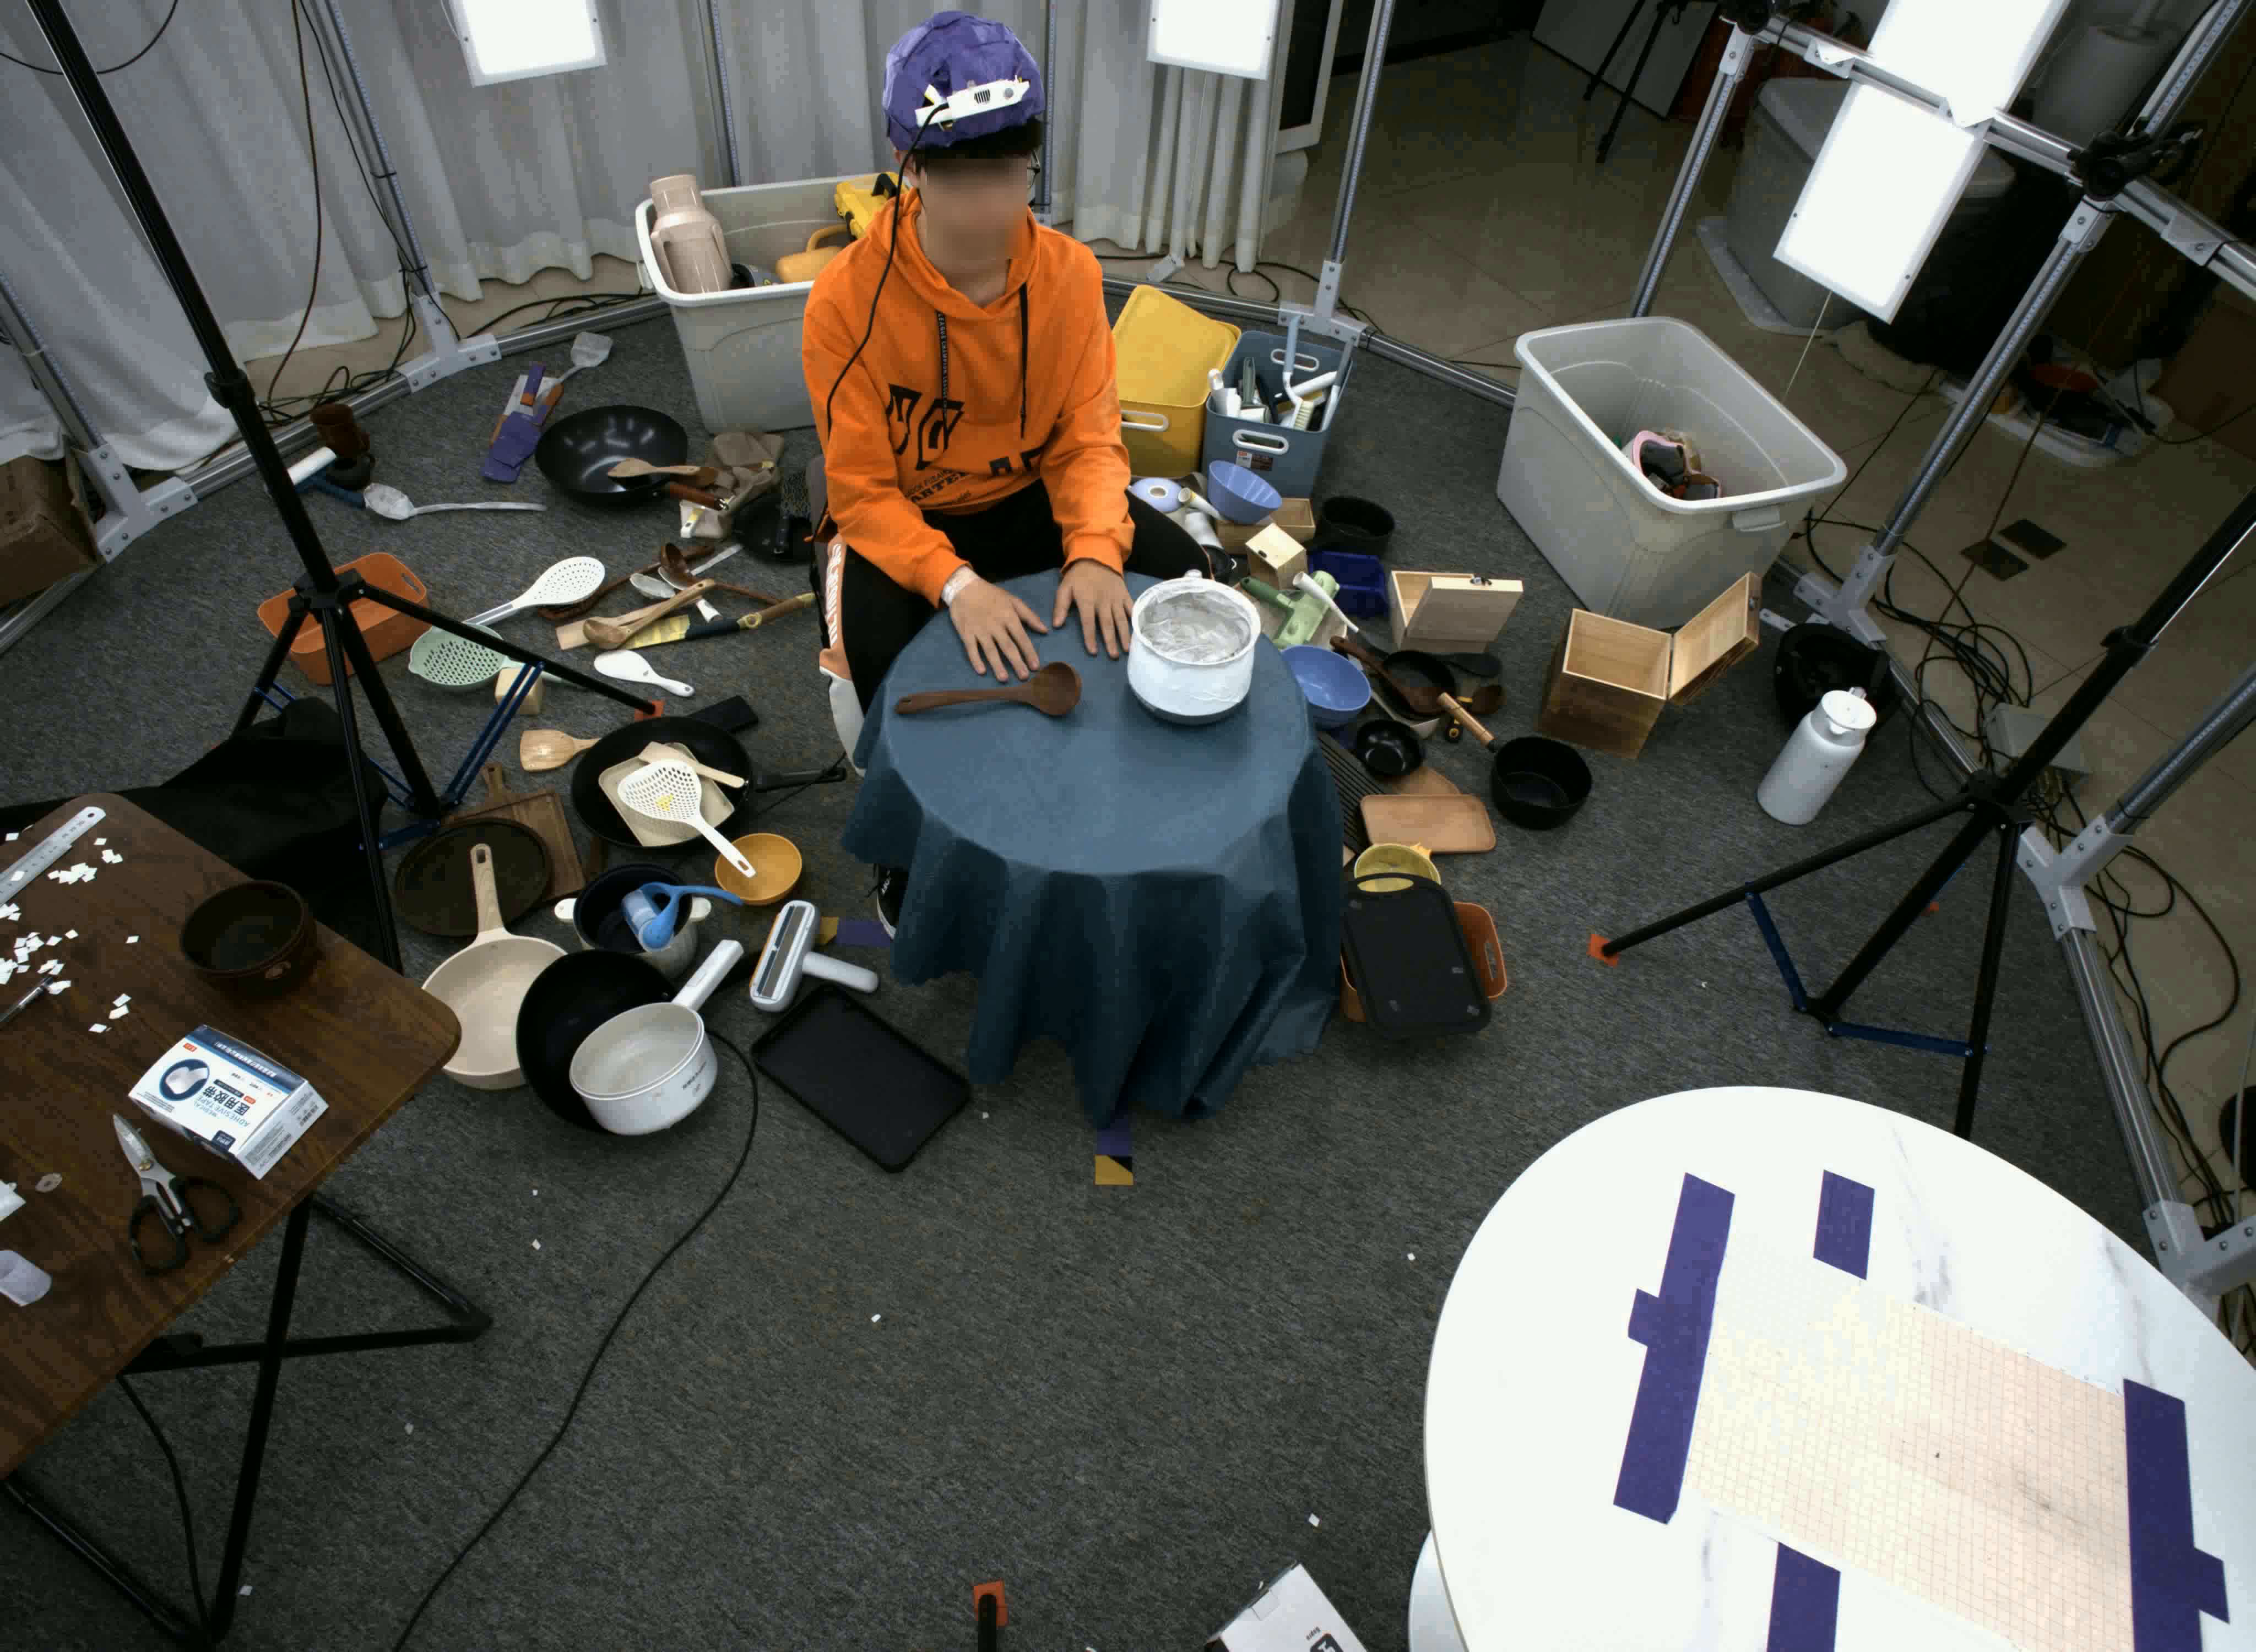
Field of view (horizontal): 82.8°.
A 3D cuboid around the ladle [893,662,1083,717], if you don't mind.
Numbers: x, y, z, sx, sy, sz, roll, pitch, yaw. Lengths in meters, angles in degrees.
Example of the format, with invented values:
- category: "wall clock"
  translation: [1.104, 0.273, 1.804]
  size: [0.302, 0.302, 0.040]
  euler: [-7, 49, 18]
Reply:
- category: "ladle"
  translation: [-0.193, -0.182, 1.775]
  size: [0.260, 0.064, 0.077]
  euler: [-5, 76, -9]

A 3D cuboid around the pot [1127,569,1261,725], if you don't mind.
- category: "pot"
  translation: [0.088, -0.262, 1.813]
  size: [0.178, 0.133, 0.239]
  euler: [2, 49, -3]
